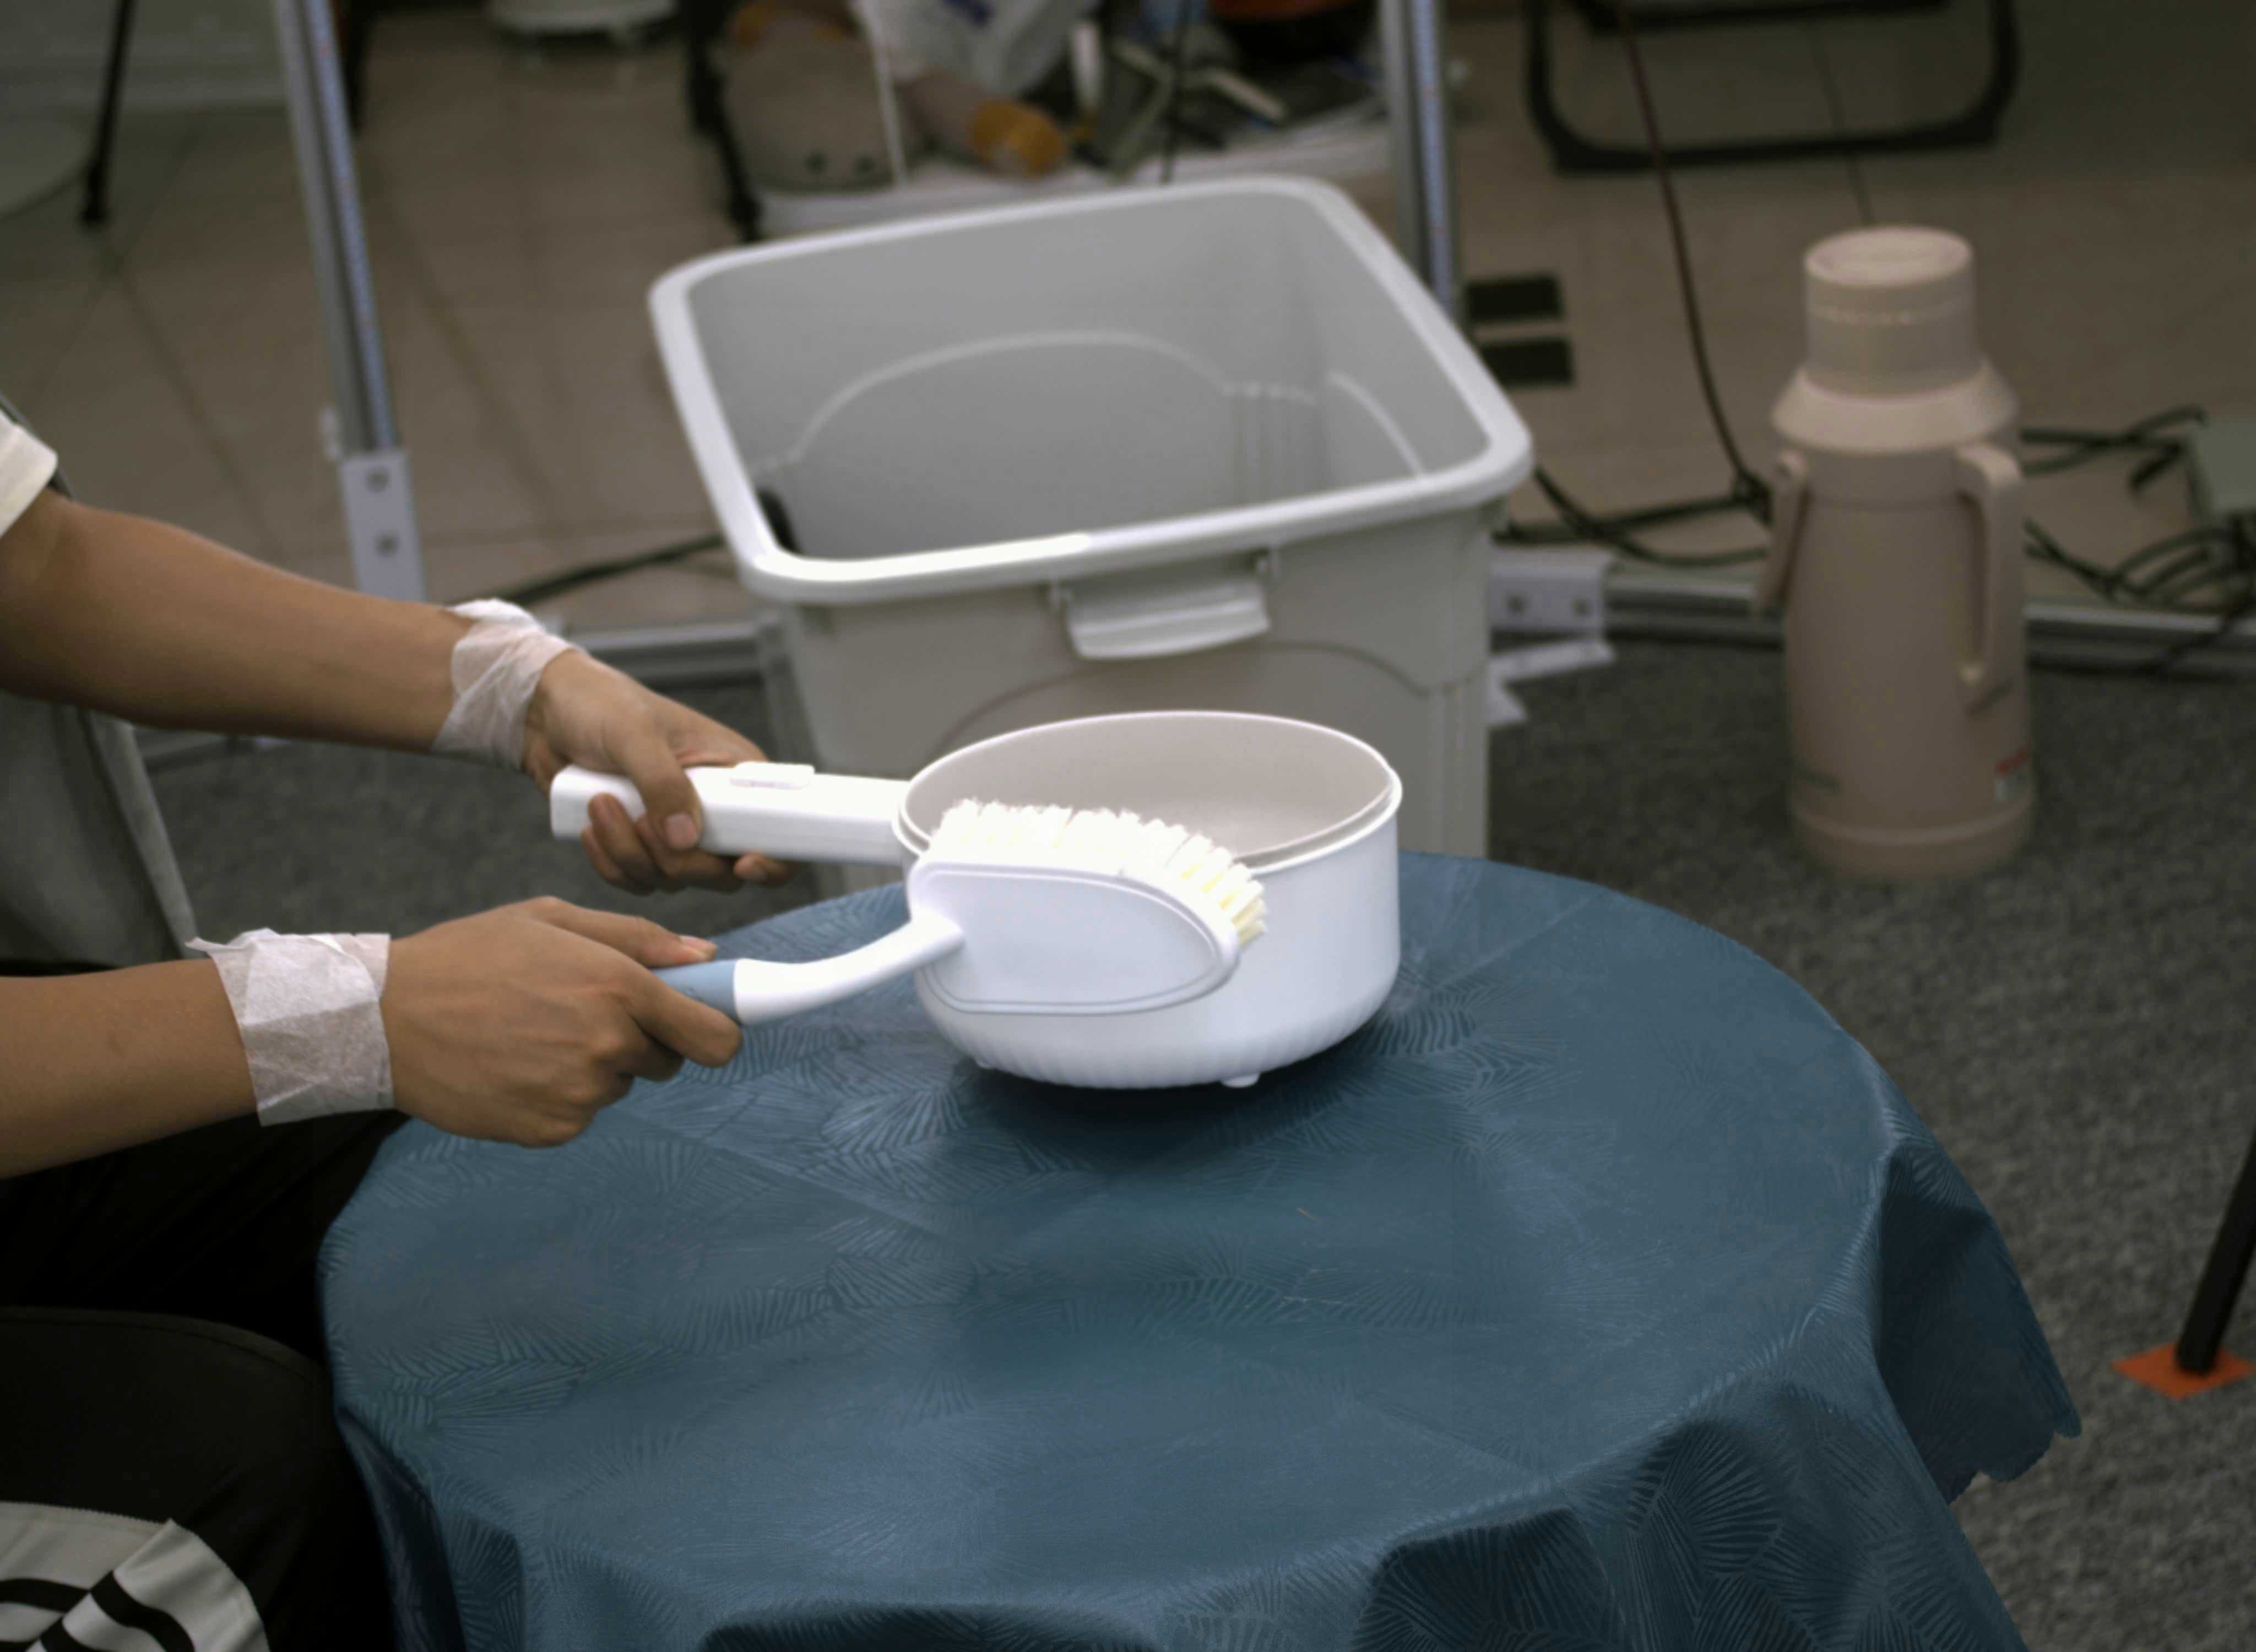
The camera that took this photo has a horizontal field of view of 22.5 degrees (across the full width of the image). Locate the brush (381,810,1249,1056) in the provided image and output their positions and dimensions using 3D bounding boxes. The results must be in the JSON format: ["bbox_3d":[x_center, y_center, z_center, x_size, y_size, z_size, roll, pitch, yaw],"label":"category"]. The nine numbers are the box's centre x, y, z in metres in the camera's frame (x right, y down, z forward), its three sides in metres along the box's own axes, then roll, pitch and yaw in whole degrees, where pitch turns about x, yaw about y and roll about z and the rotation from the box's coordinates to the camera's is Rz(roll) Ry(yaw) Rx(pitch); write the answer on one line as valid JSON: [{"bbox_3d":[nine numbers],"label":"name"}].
[{"bbox_3d":[-0.115,0.038,2.092,0.325,0.083,0.085,-4,-9,11],"label":"brush"}]

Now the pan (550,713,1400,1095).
[{"bbox_3d":[-0.062,0.030,2.268,0.354,0.103,0.199,3,21,20],"label":"pan"}]
